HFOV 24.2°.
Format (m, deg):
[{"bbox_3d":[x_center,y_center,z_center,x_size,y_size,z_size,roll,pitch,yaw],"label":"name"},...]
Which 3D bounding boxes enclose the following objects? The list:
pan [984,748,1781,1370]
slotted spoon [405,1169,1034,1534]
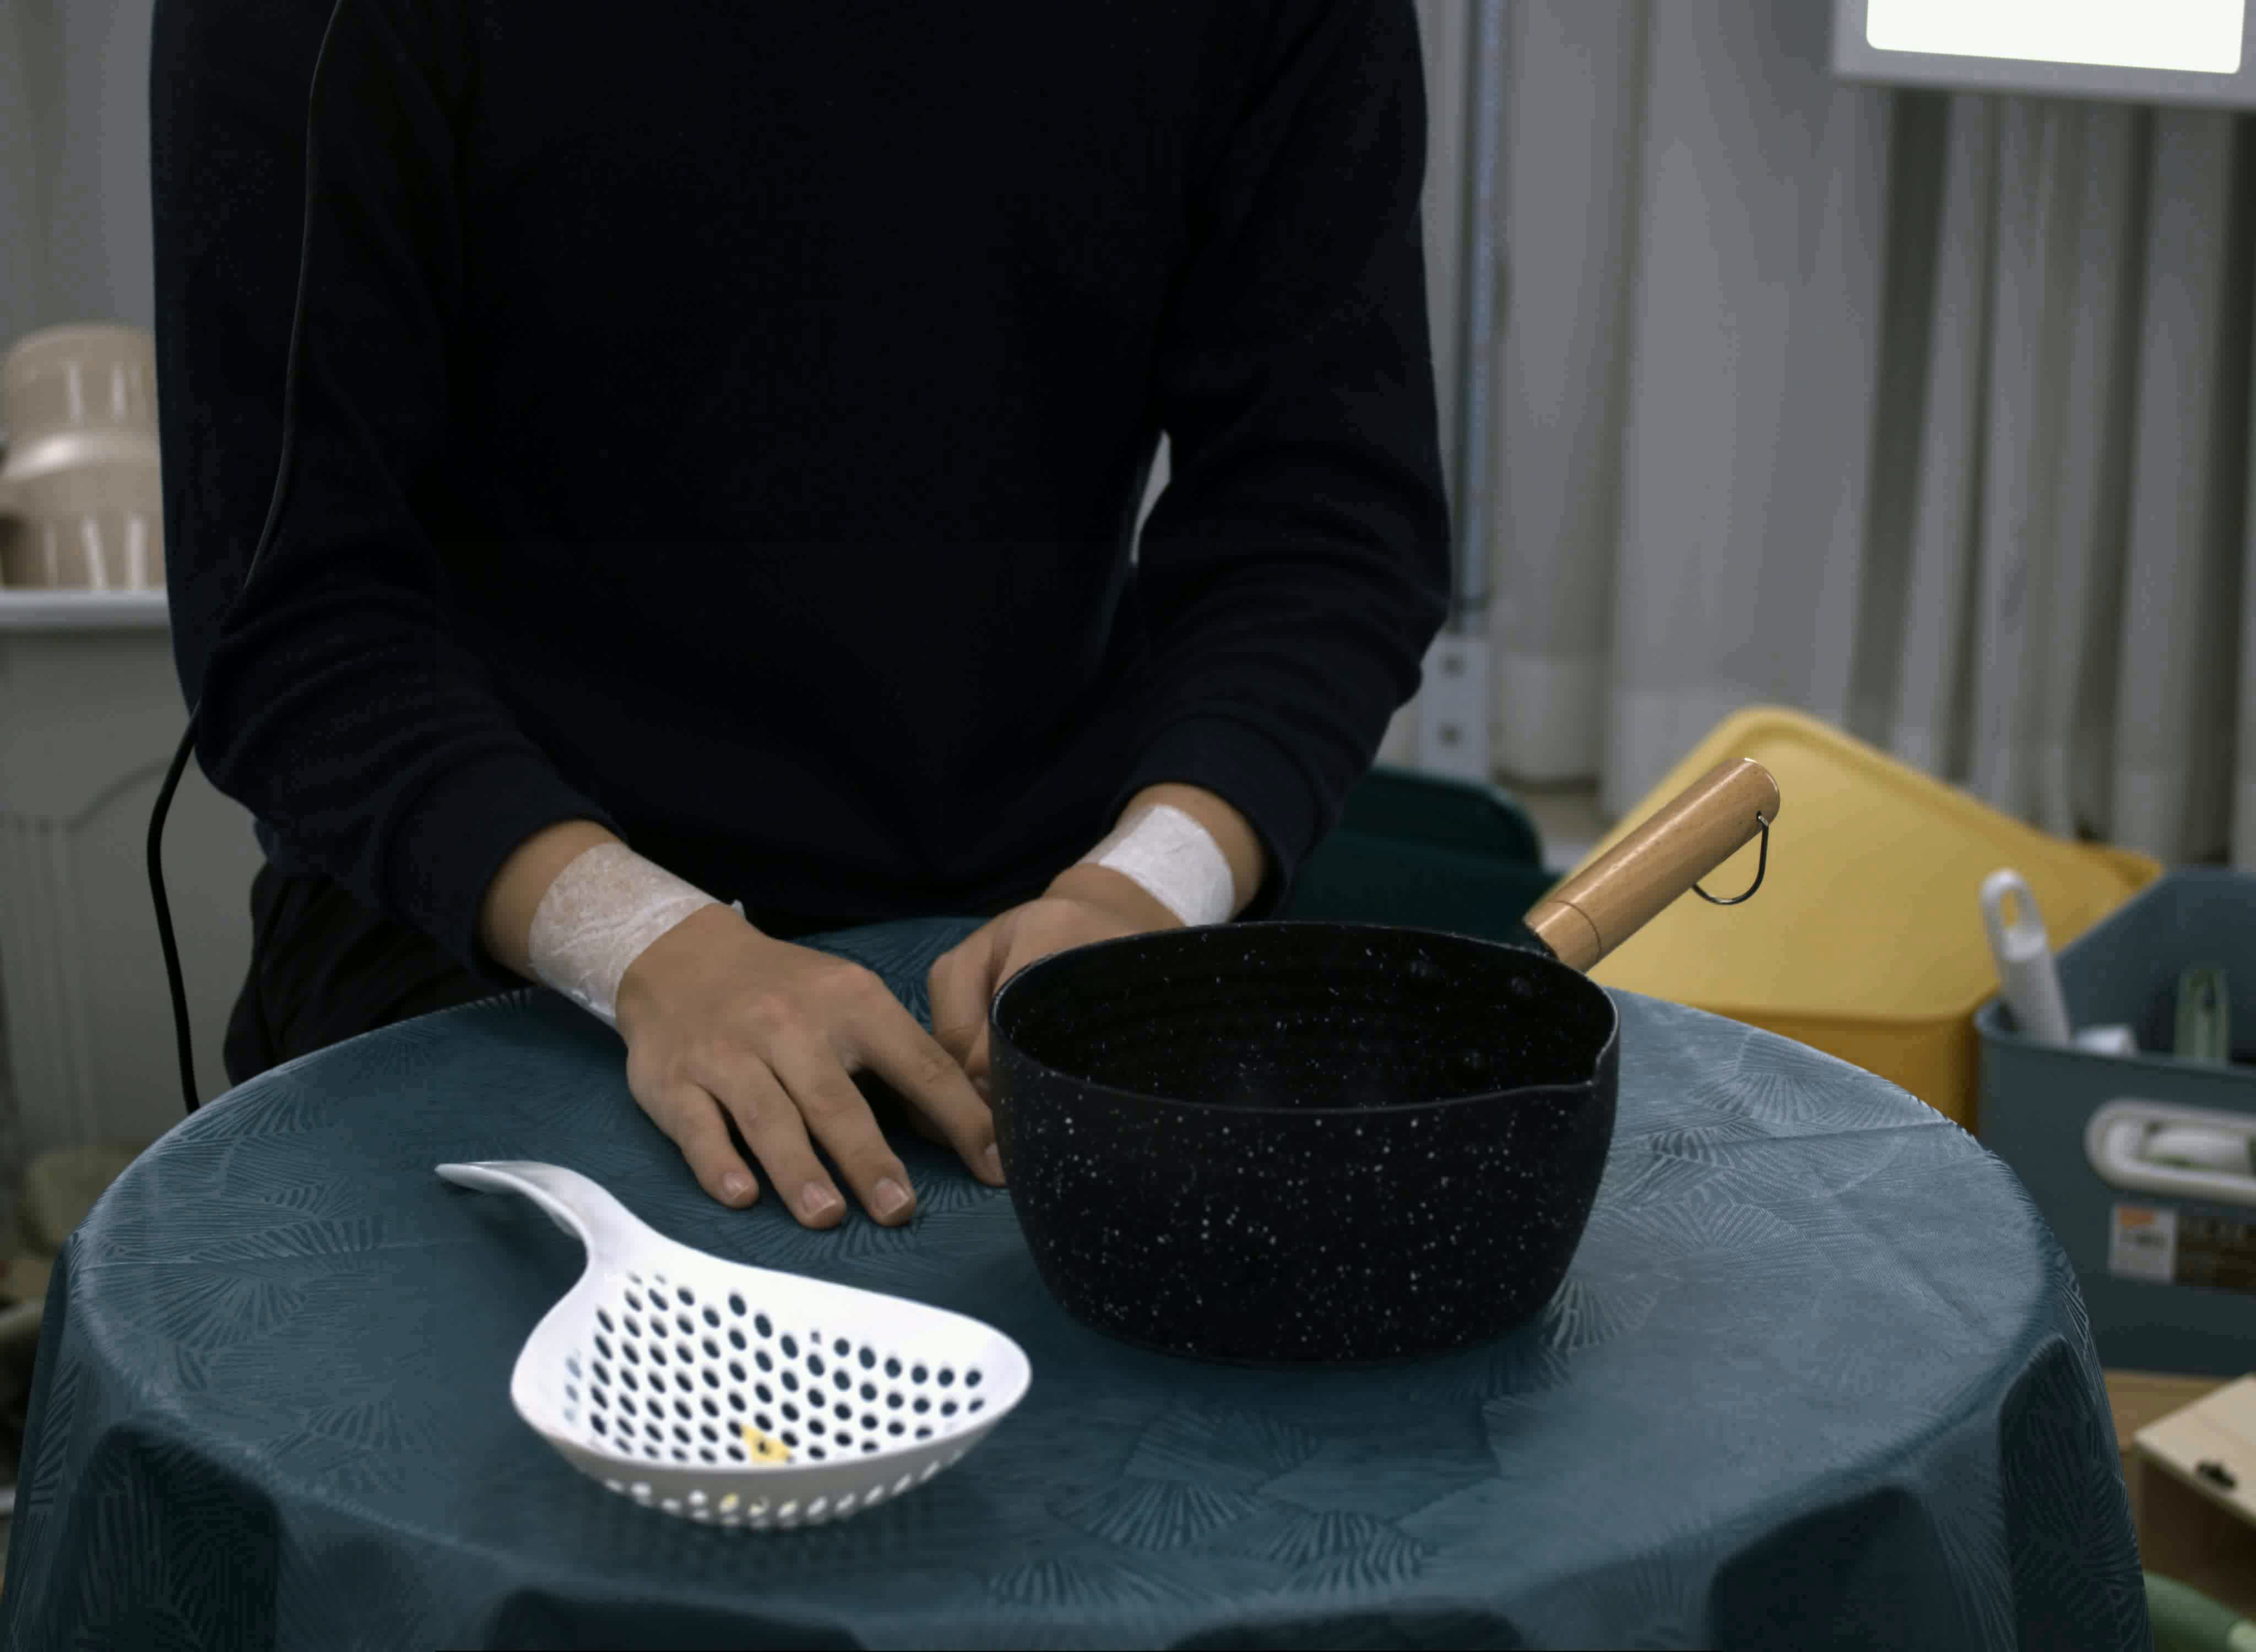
[{"bbox_3d":[0.098,0.065,1.594,0.205,0.109,0.344,10,20,35],"label":"pan"},{"bbox_3d":[-0.138,0.131,1.470,0.137,0.051,0.343,-9,19,-23],"label":"slotted spoon"}]
